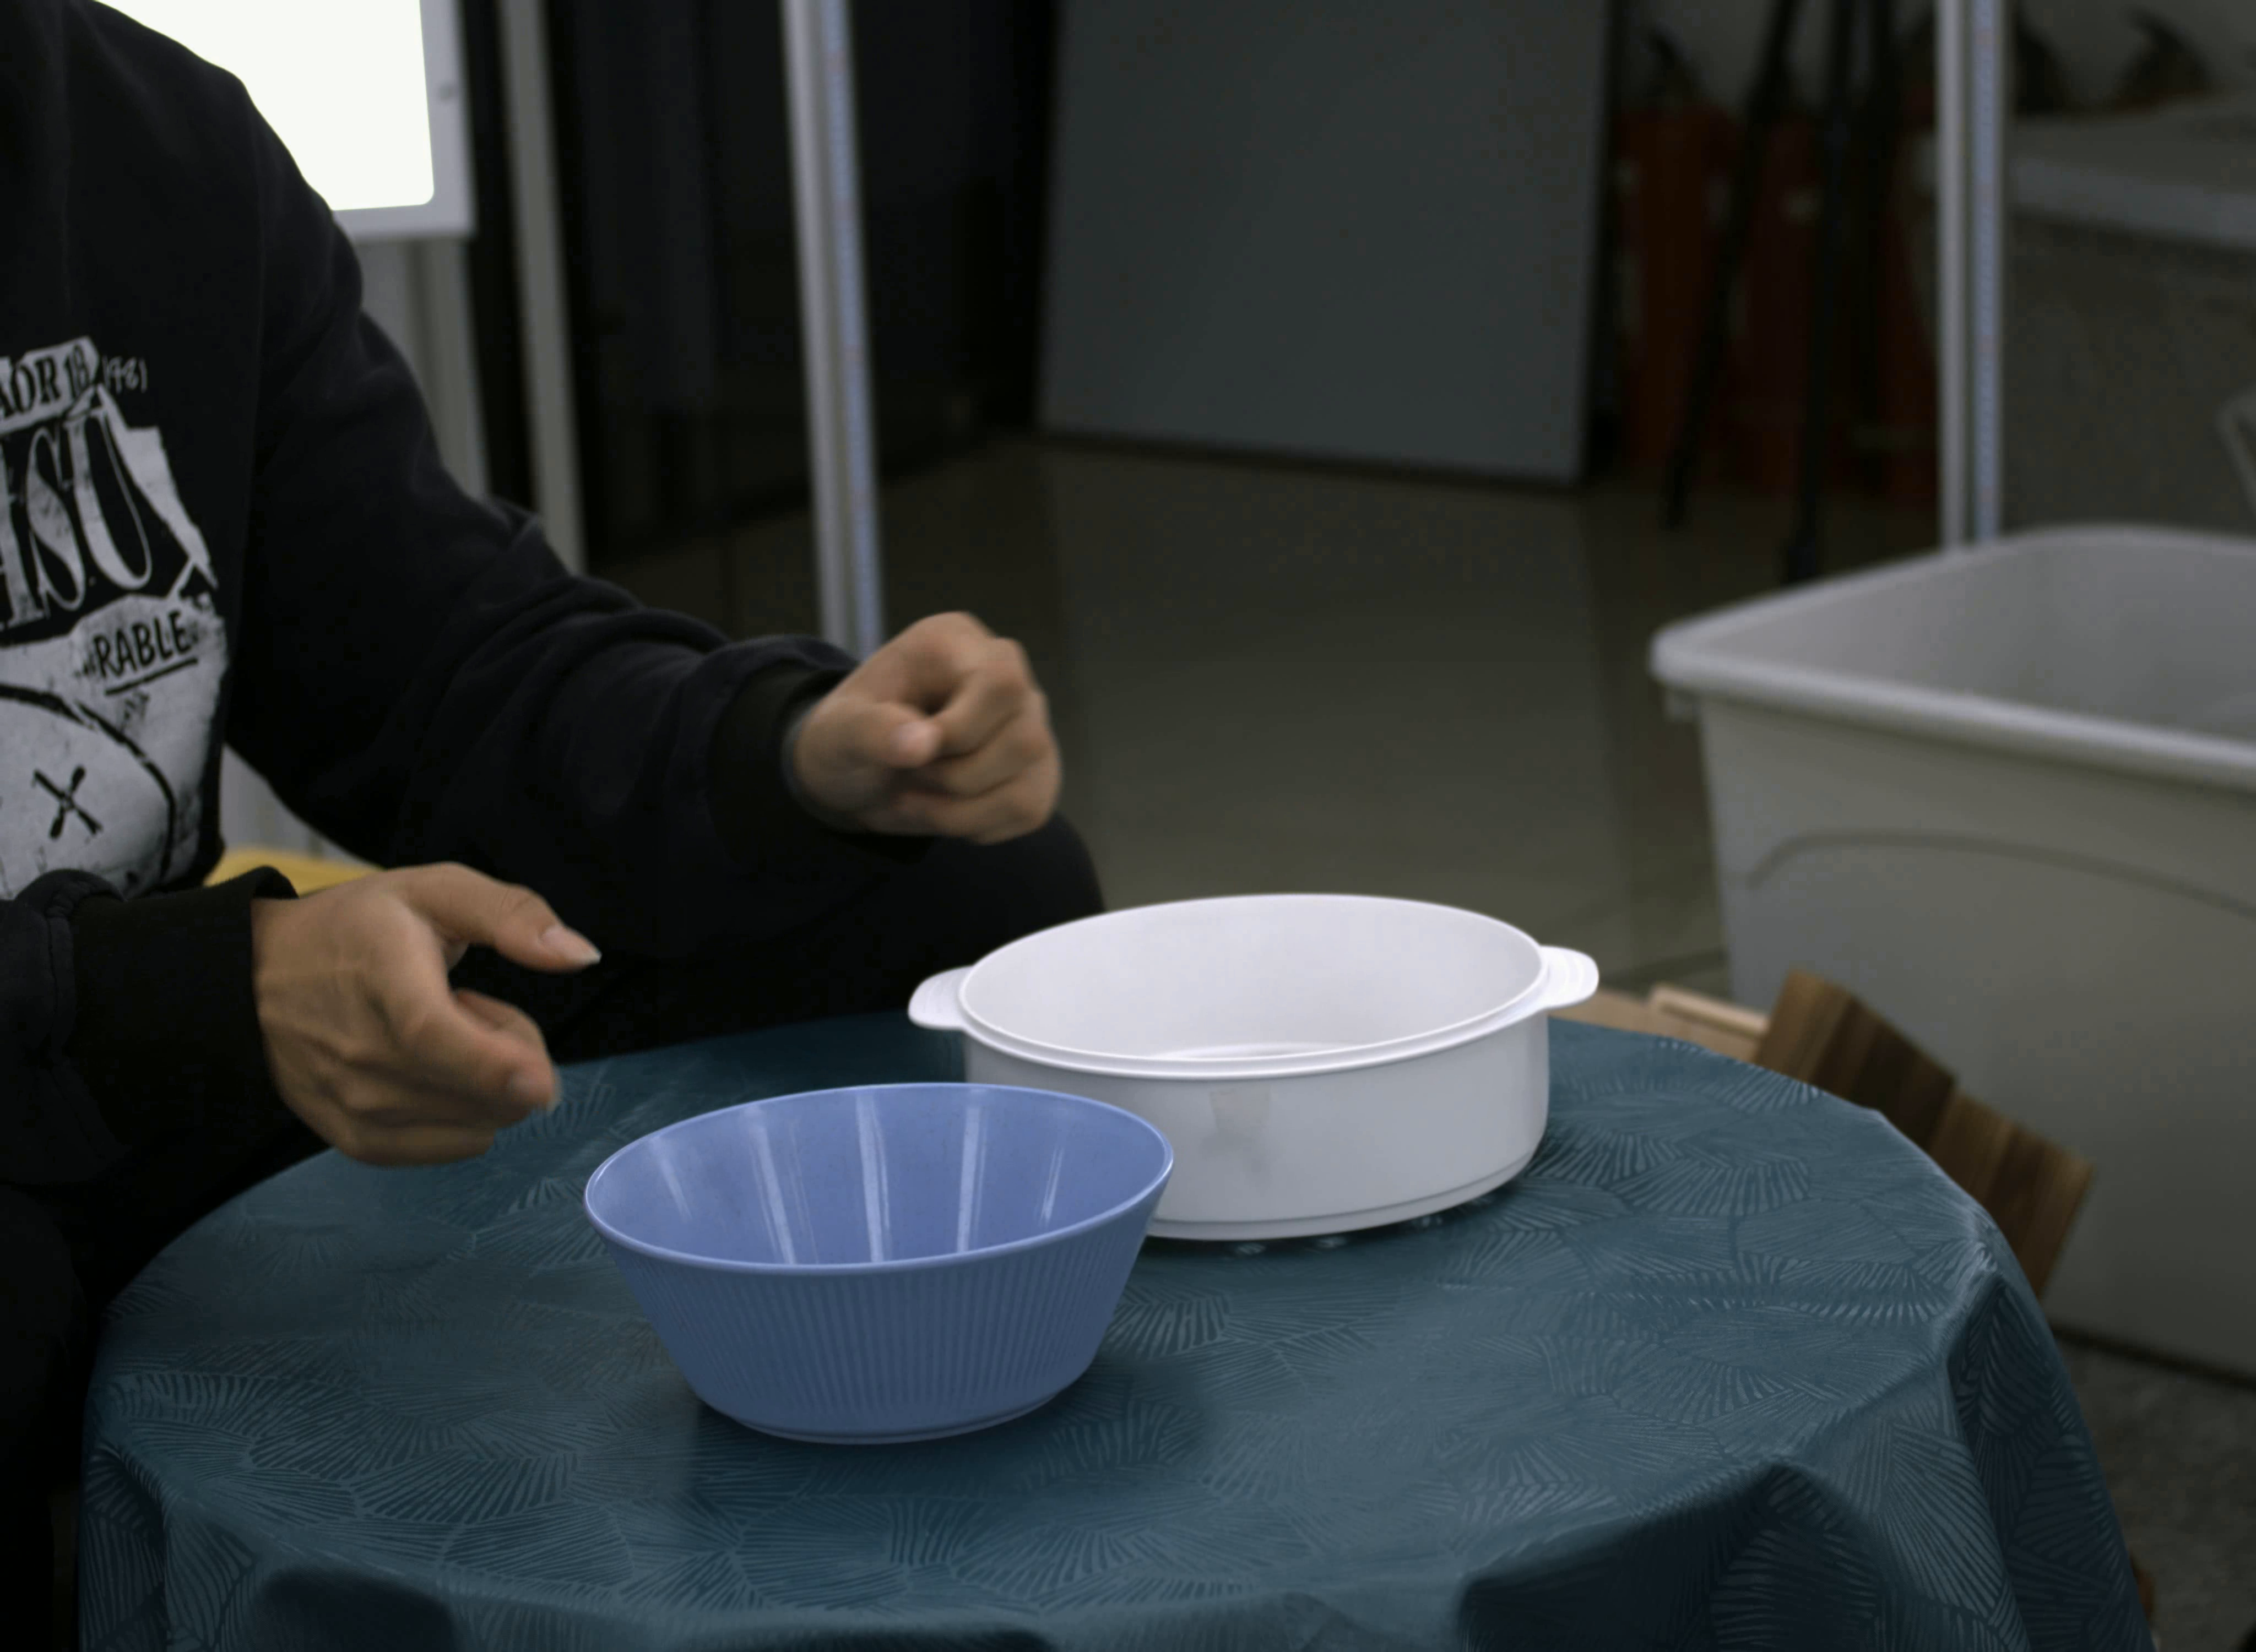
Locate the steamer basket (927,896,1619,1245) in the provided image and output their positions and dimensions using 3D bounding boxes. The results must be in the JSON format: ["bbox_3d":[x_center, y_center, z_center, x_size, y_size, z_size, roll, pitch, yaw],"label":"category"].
[{"bbox_3d":[0.048,0.080,1.780,0.228,0.070,0.201,0,14,5],"label":"steamer basket"}]

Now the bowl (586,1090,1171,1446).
[{"bbox_3d":[-0.071,0.133,1.596,0.174,0.071,0.176,-4,13,0],"label":"bowl"}]
